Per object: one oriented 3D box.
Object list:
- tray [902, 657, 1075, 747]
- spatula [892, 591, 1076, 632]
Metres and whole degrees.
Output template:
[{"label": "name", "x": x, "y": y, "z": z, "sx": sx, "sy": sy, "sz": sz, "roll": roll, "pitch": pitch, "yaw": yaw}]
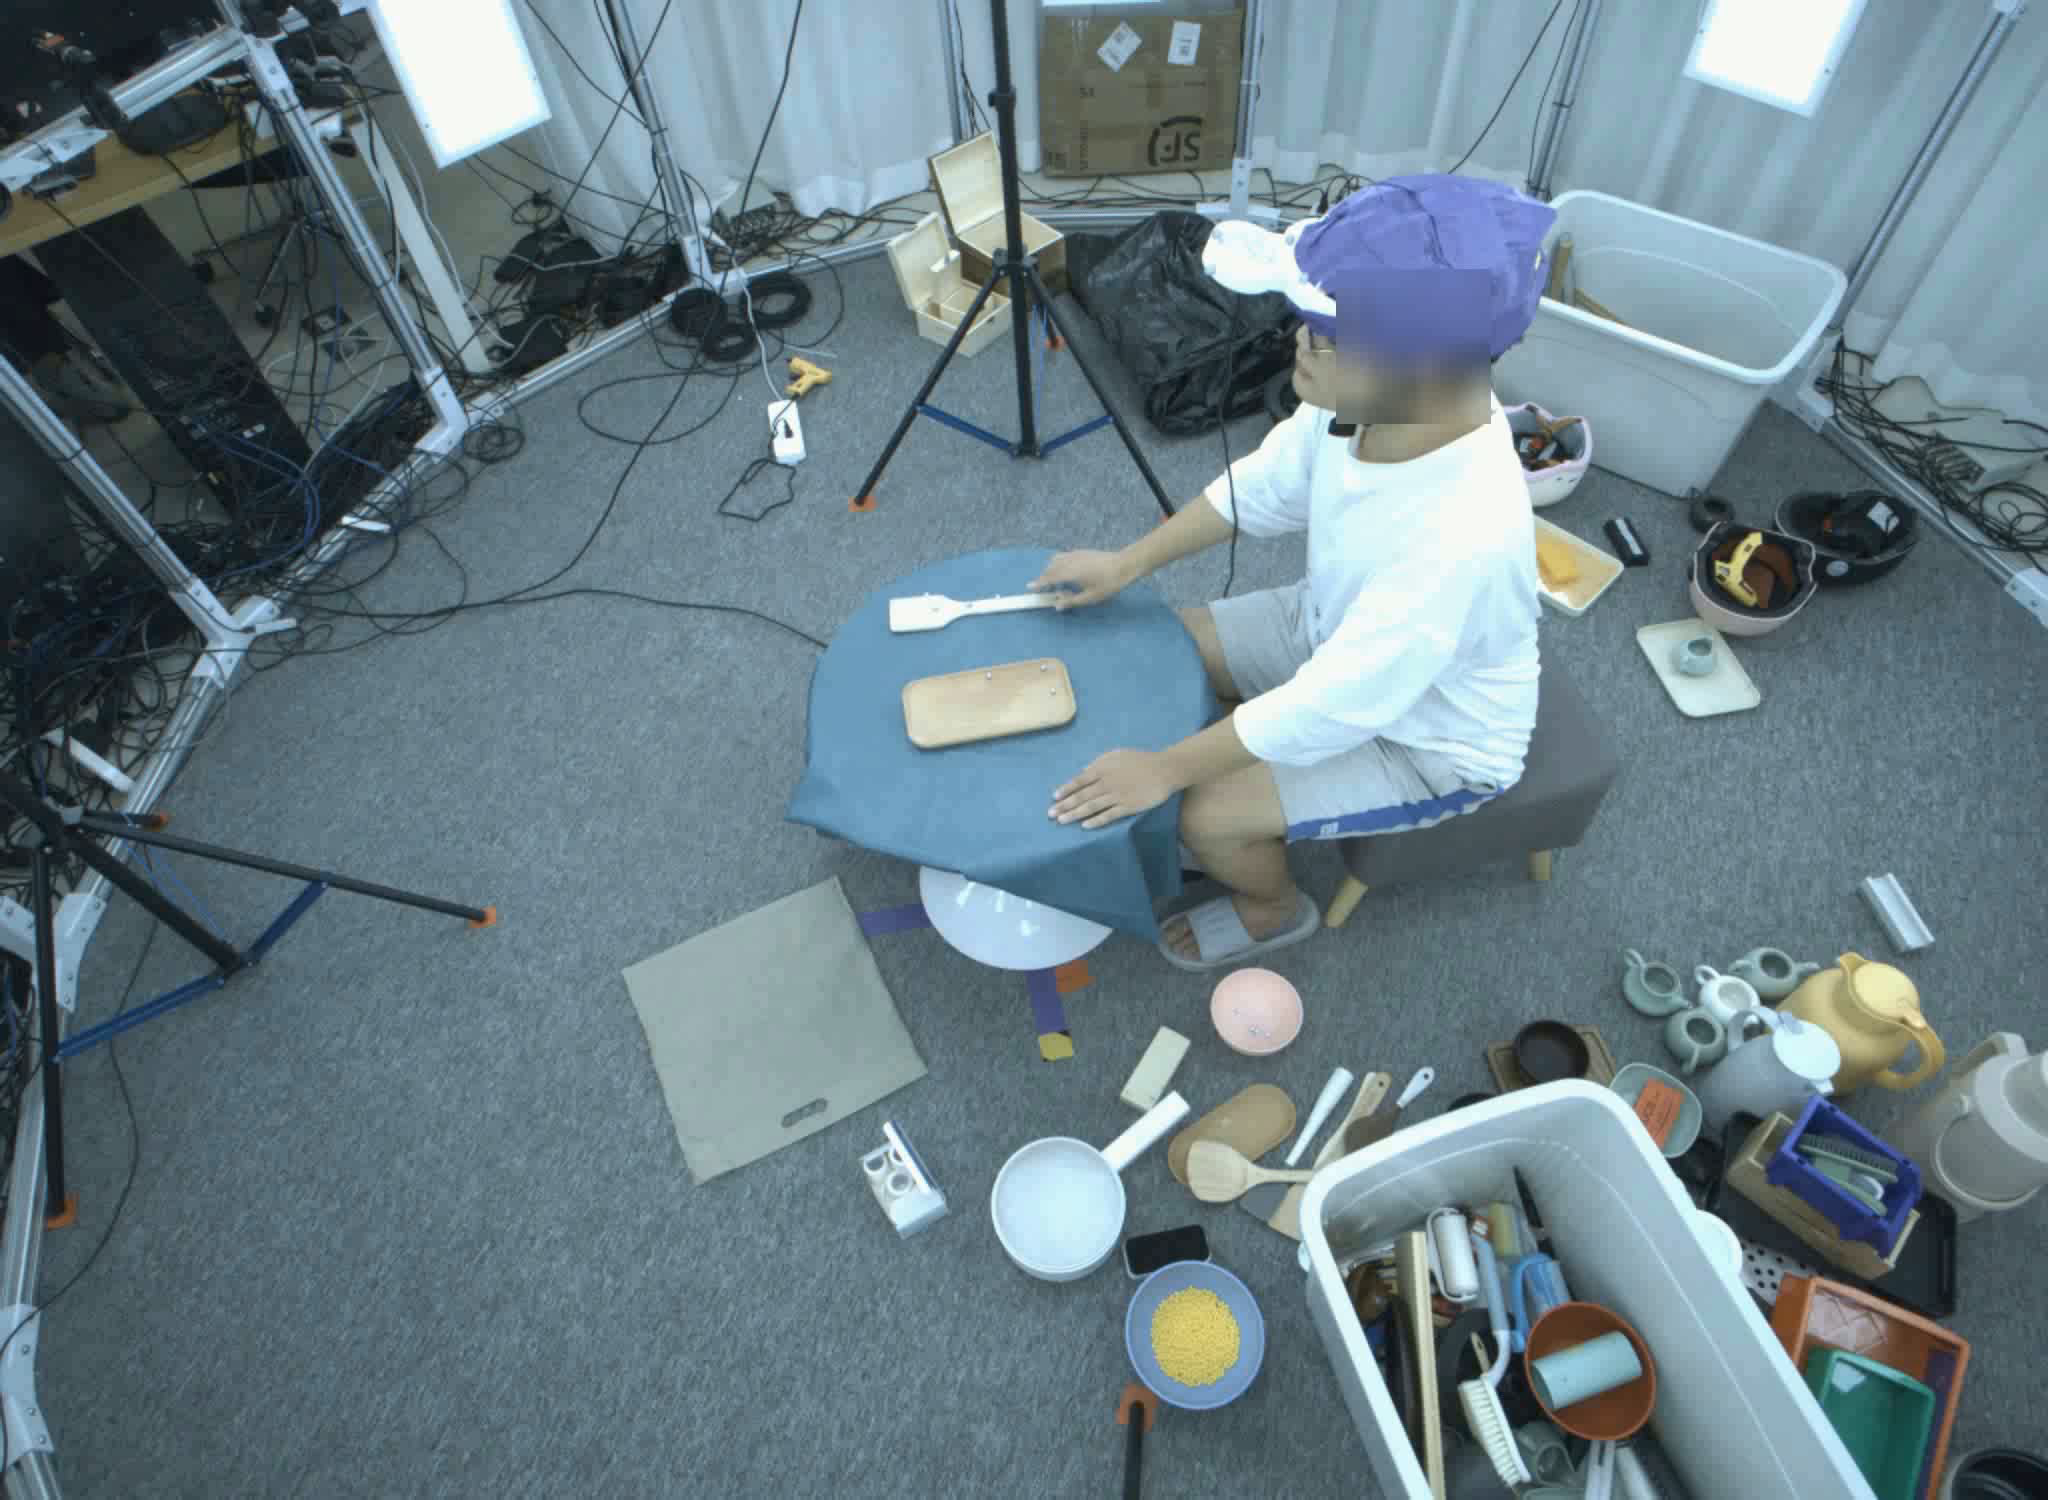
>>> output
[{"label": "tray", "x": -0.054, "y": -0.071, "z": 1.827, "sx": 0.251, "sy": 0.023, "sz": 0.128, "roll": -9, "pitch": 52, "yaw": -4}, {"label": "spatula", "x": -0.063, "y": -0.228, "z": 1.944, "sx": 0.294, "sy": 0.011, "sz": 0.071, "roll": -6, "pitch": 53, "yaw": -3}]
